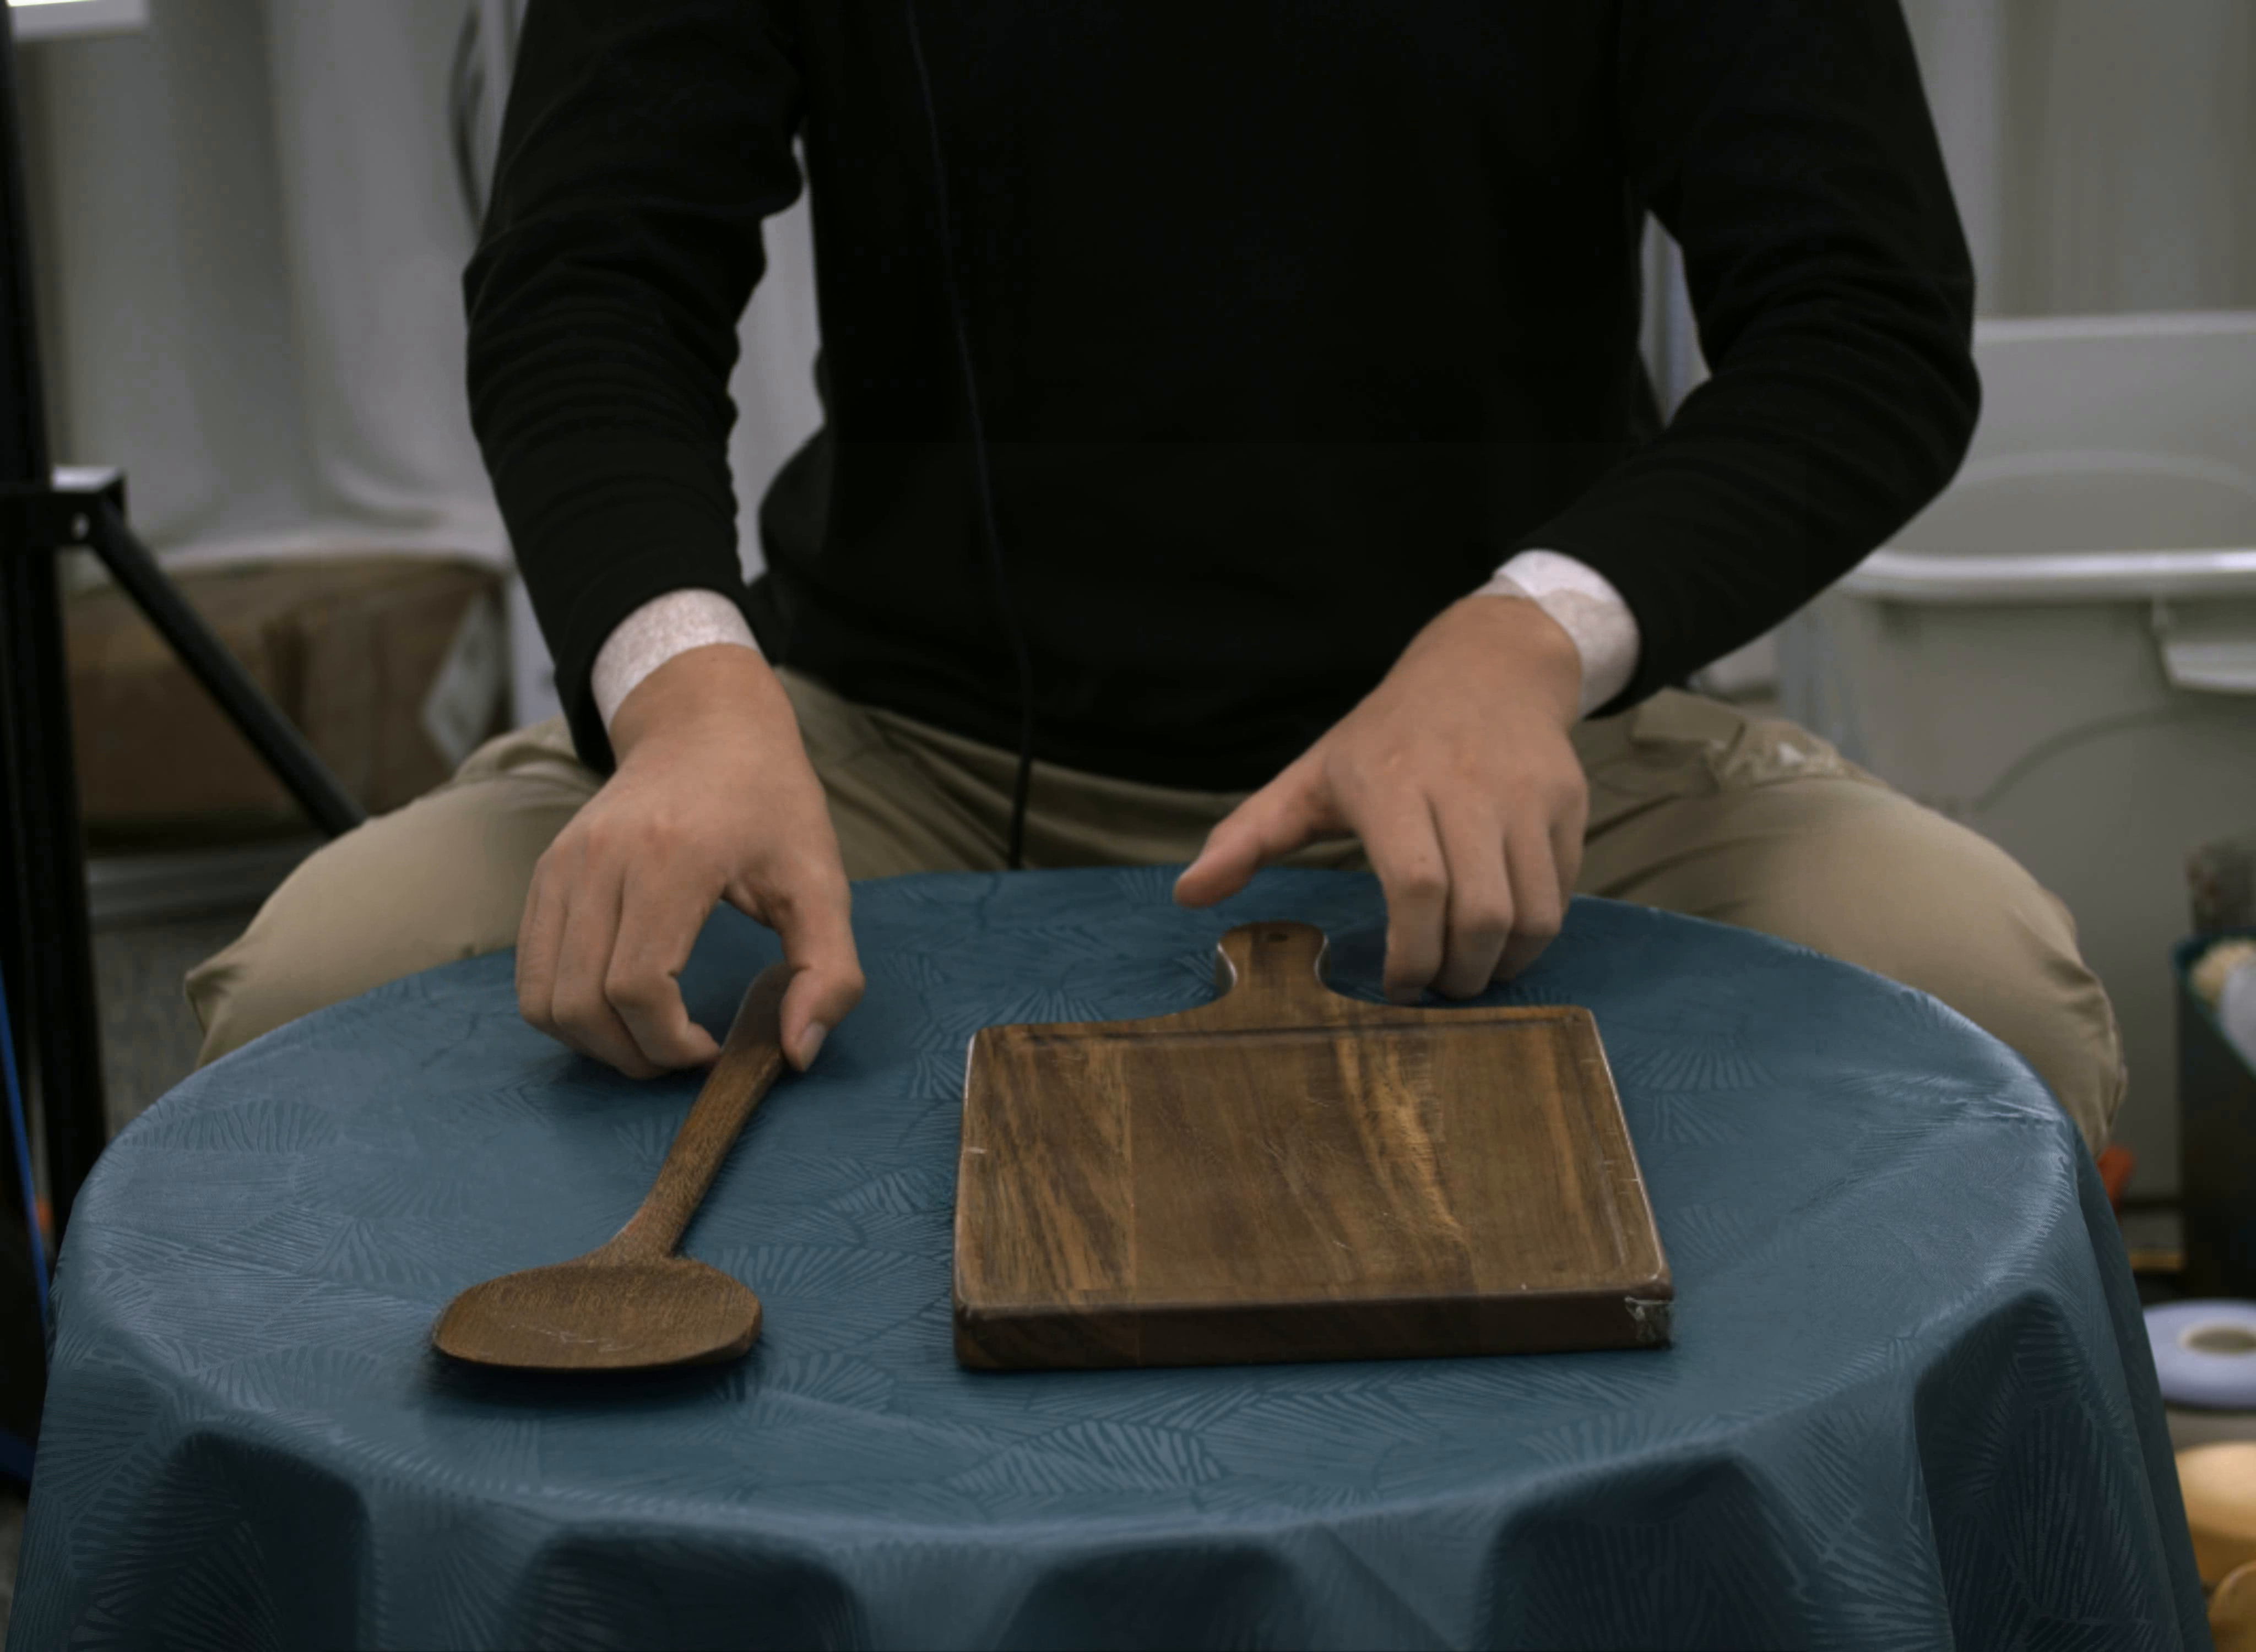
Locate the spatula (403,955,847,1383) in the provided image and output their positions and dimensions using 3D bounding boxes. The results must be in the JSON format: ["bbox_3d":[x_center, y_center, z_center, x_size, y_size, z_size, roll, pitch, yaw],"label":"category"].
[{"bbox_3d":[-0.128,0.096,1.595,0.096,0.016,0.385,0,16,7],"label":"spatula"}]

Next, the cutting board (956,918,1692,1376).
[{"bbox_3d":[0.049,0.088,1.583,0.200,0.023,0.353,-2,16,0],"label":"cutting board"}]
